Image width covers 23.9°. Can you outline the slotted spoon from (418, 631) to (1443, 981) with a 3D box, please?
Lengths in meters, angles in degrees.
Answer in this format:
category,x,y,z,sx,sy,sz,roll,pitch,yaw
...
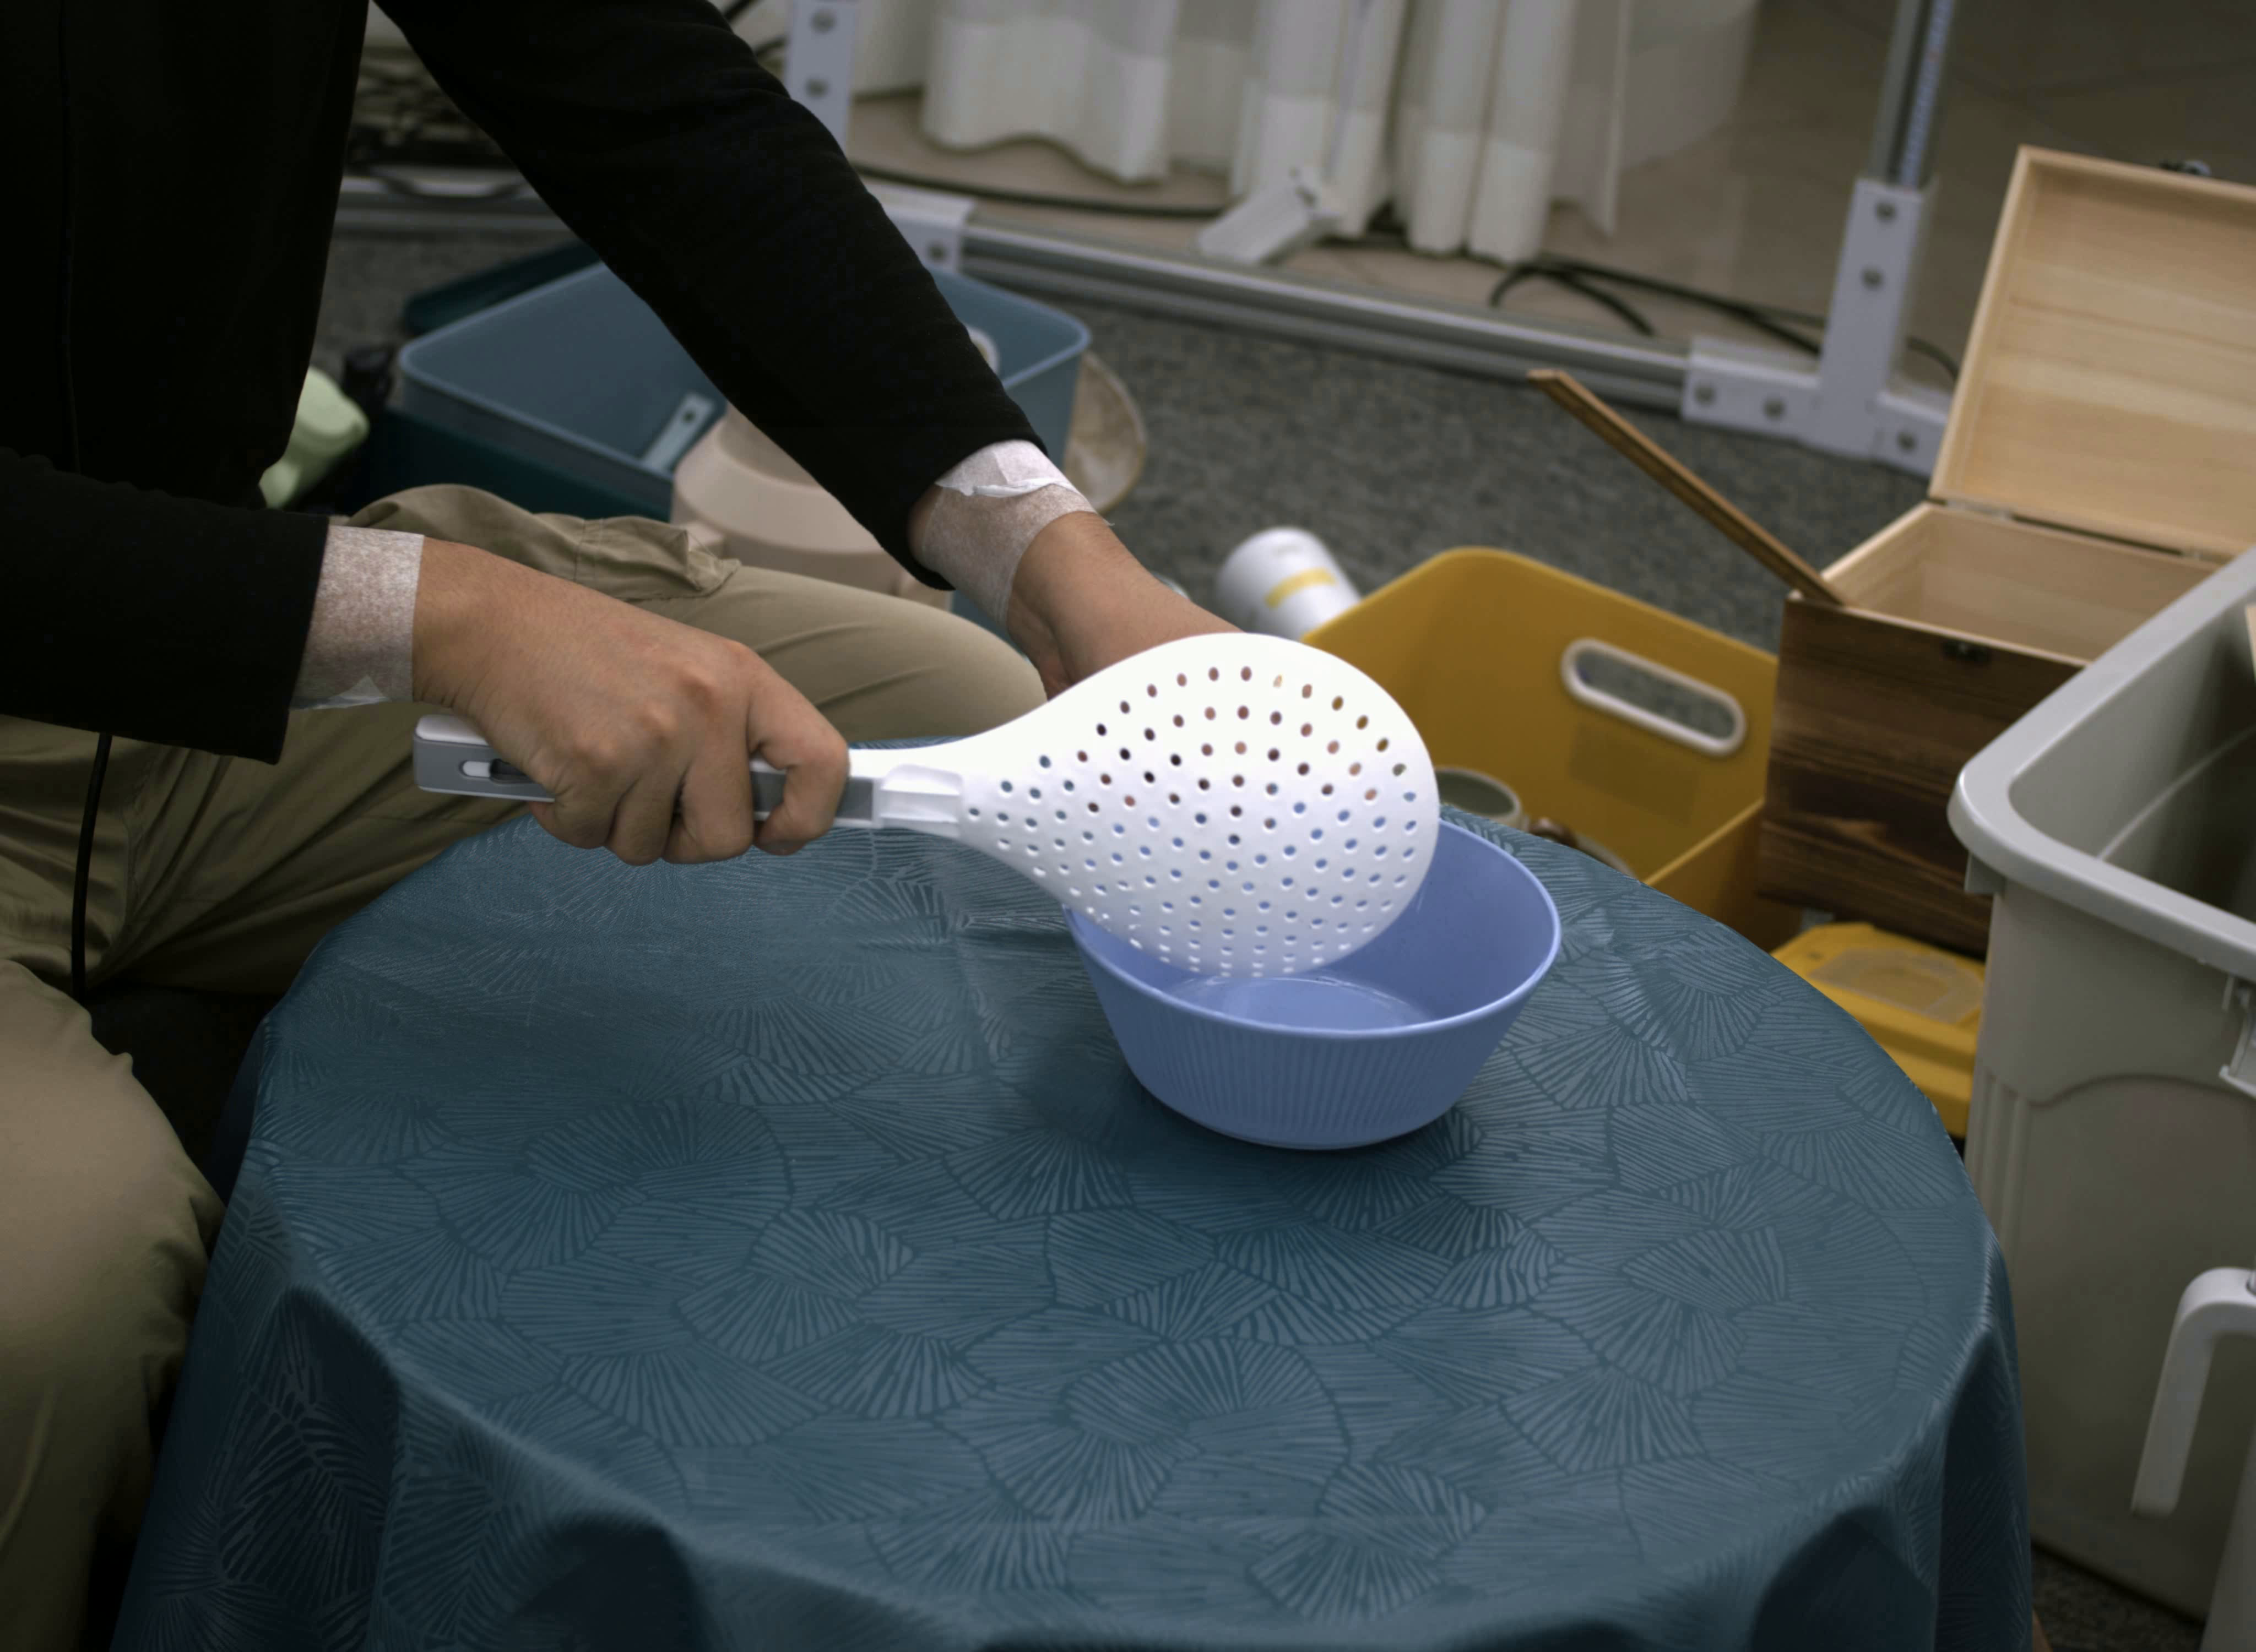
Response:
category,x,y,z,sx,sy,sz,roll,pitch,yaw
slotted spoon,-0.069,-0.011,1.812,0.349,0.135,0.046,7,30,7

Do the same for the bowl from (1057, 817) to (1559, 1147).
category,x,y,z,sx,sy,sz,roll,pitch,yaw
bowl,0.061,0.056,1.868,0.175,0.070,0.177,3,27,-2
